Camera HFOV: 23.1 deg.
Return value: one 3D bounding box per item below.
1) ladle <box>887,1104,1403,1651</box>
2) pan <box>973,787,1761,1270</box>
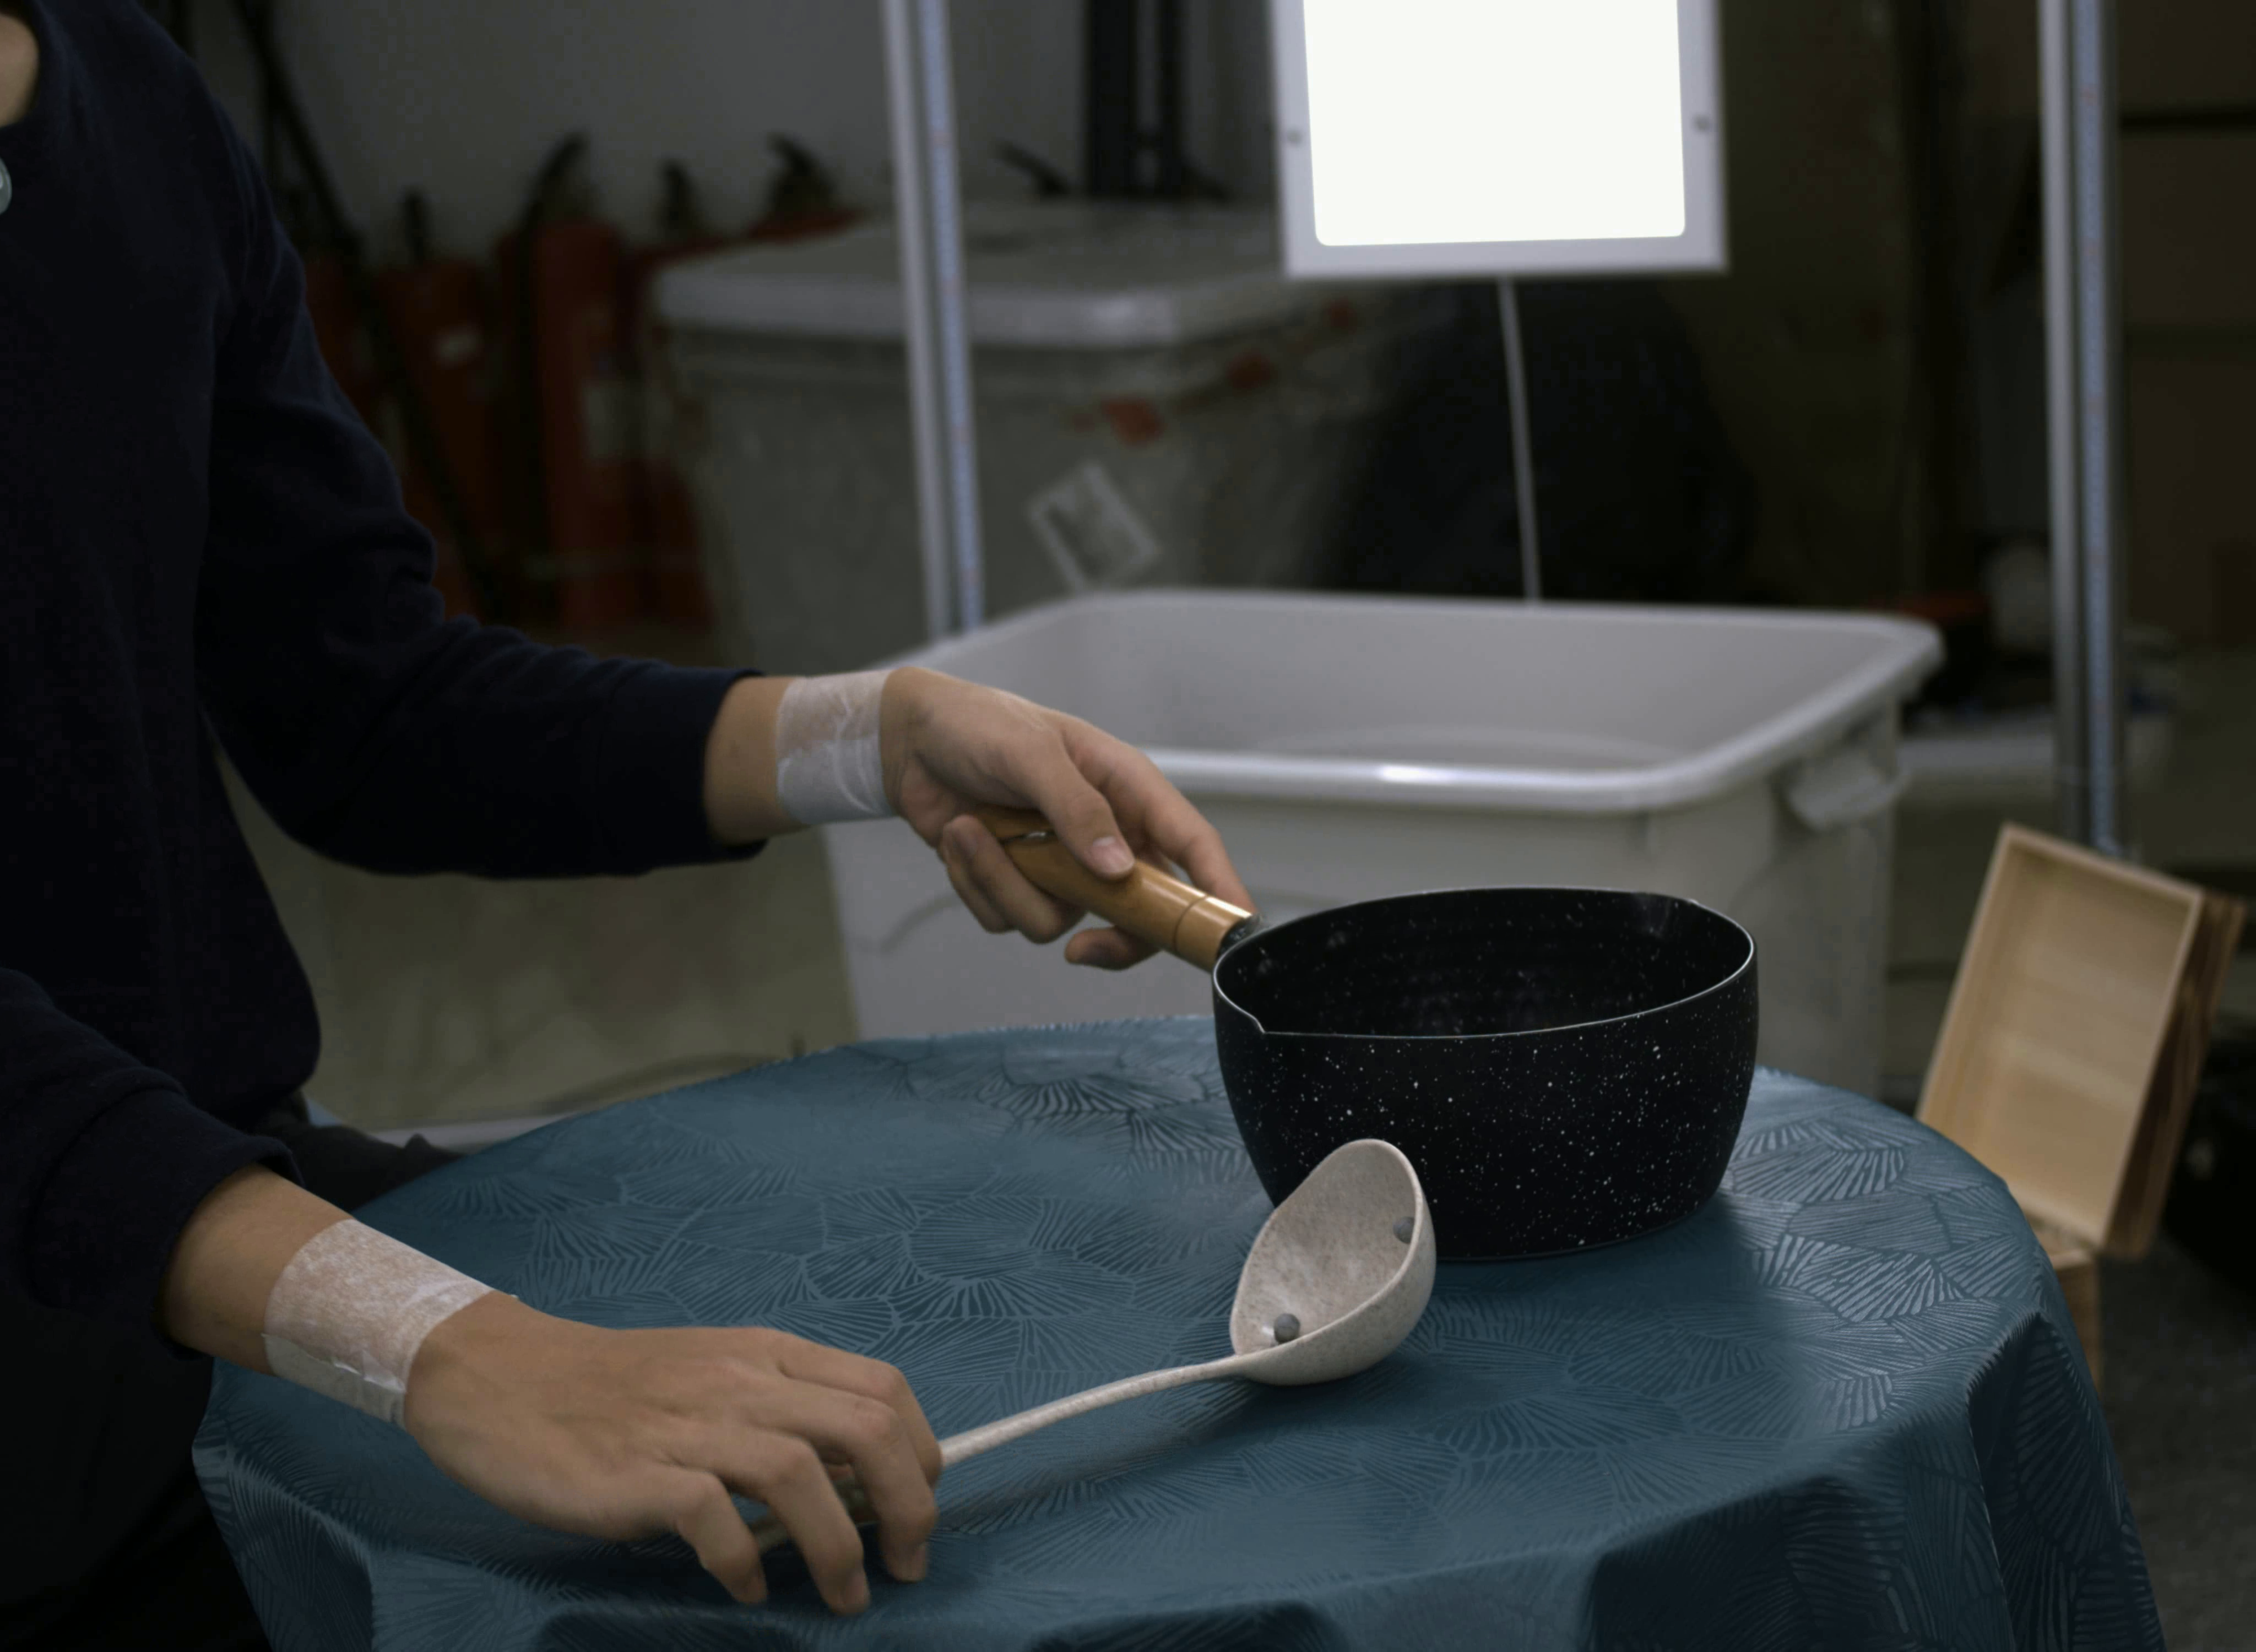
[{"bbox_3d":[-0.029,0.192,1.665,0.272,0.070,0.089,-37,-11,-10],"label":"ladle"},{"bbox_3d":[0.066,0.063,1.905,0.202,0.108,0.350,-18,20,-40],"label":"pan"}]
